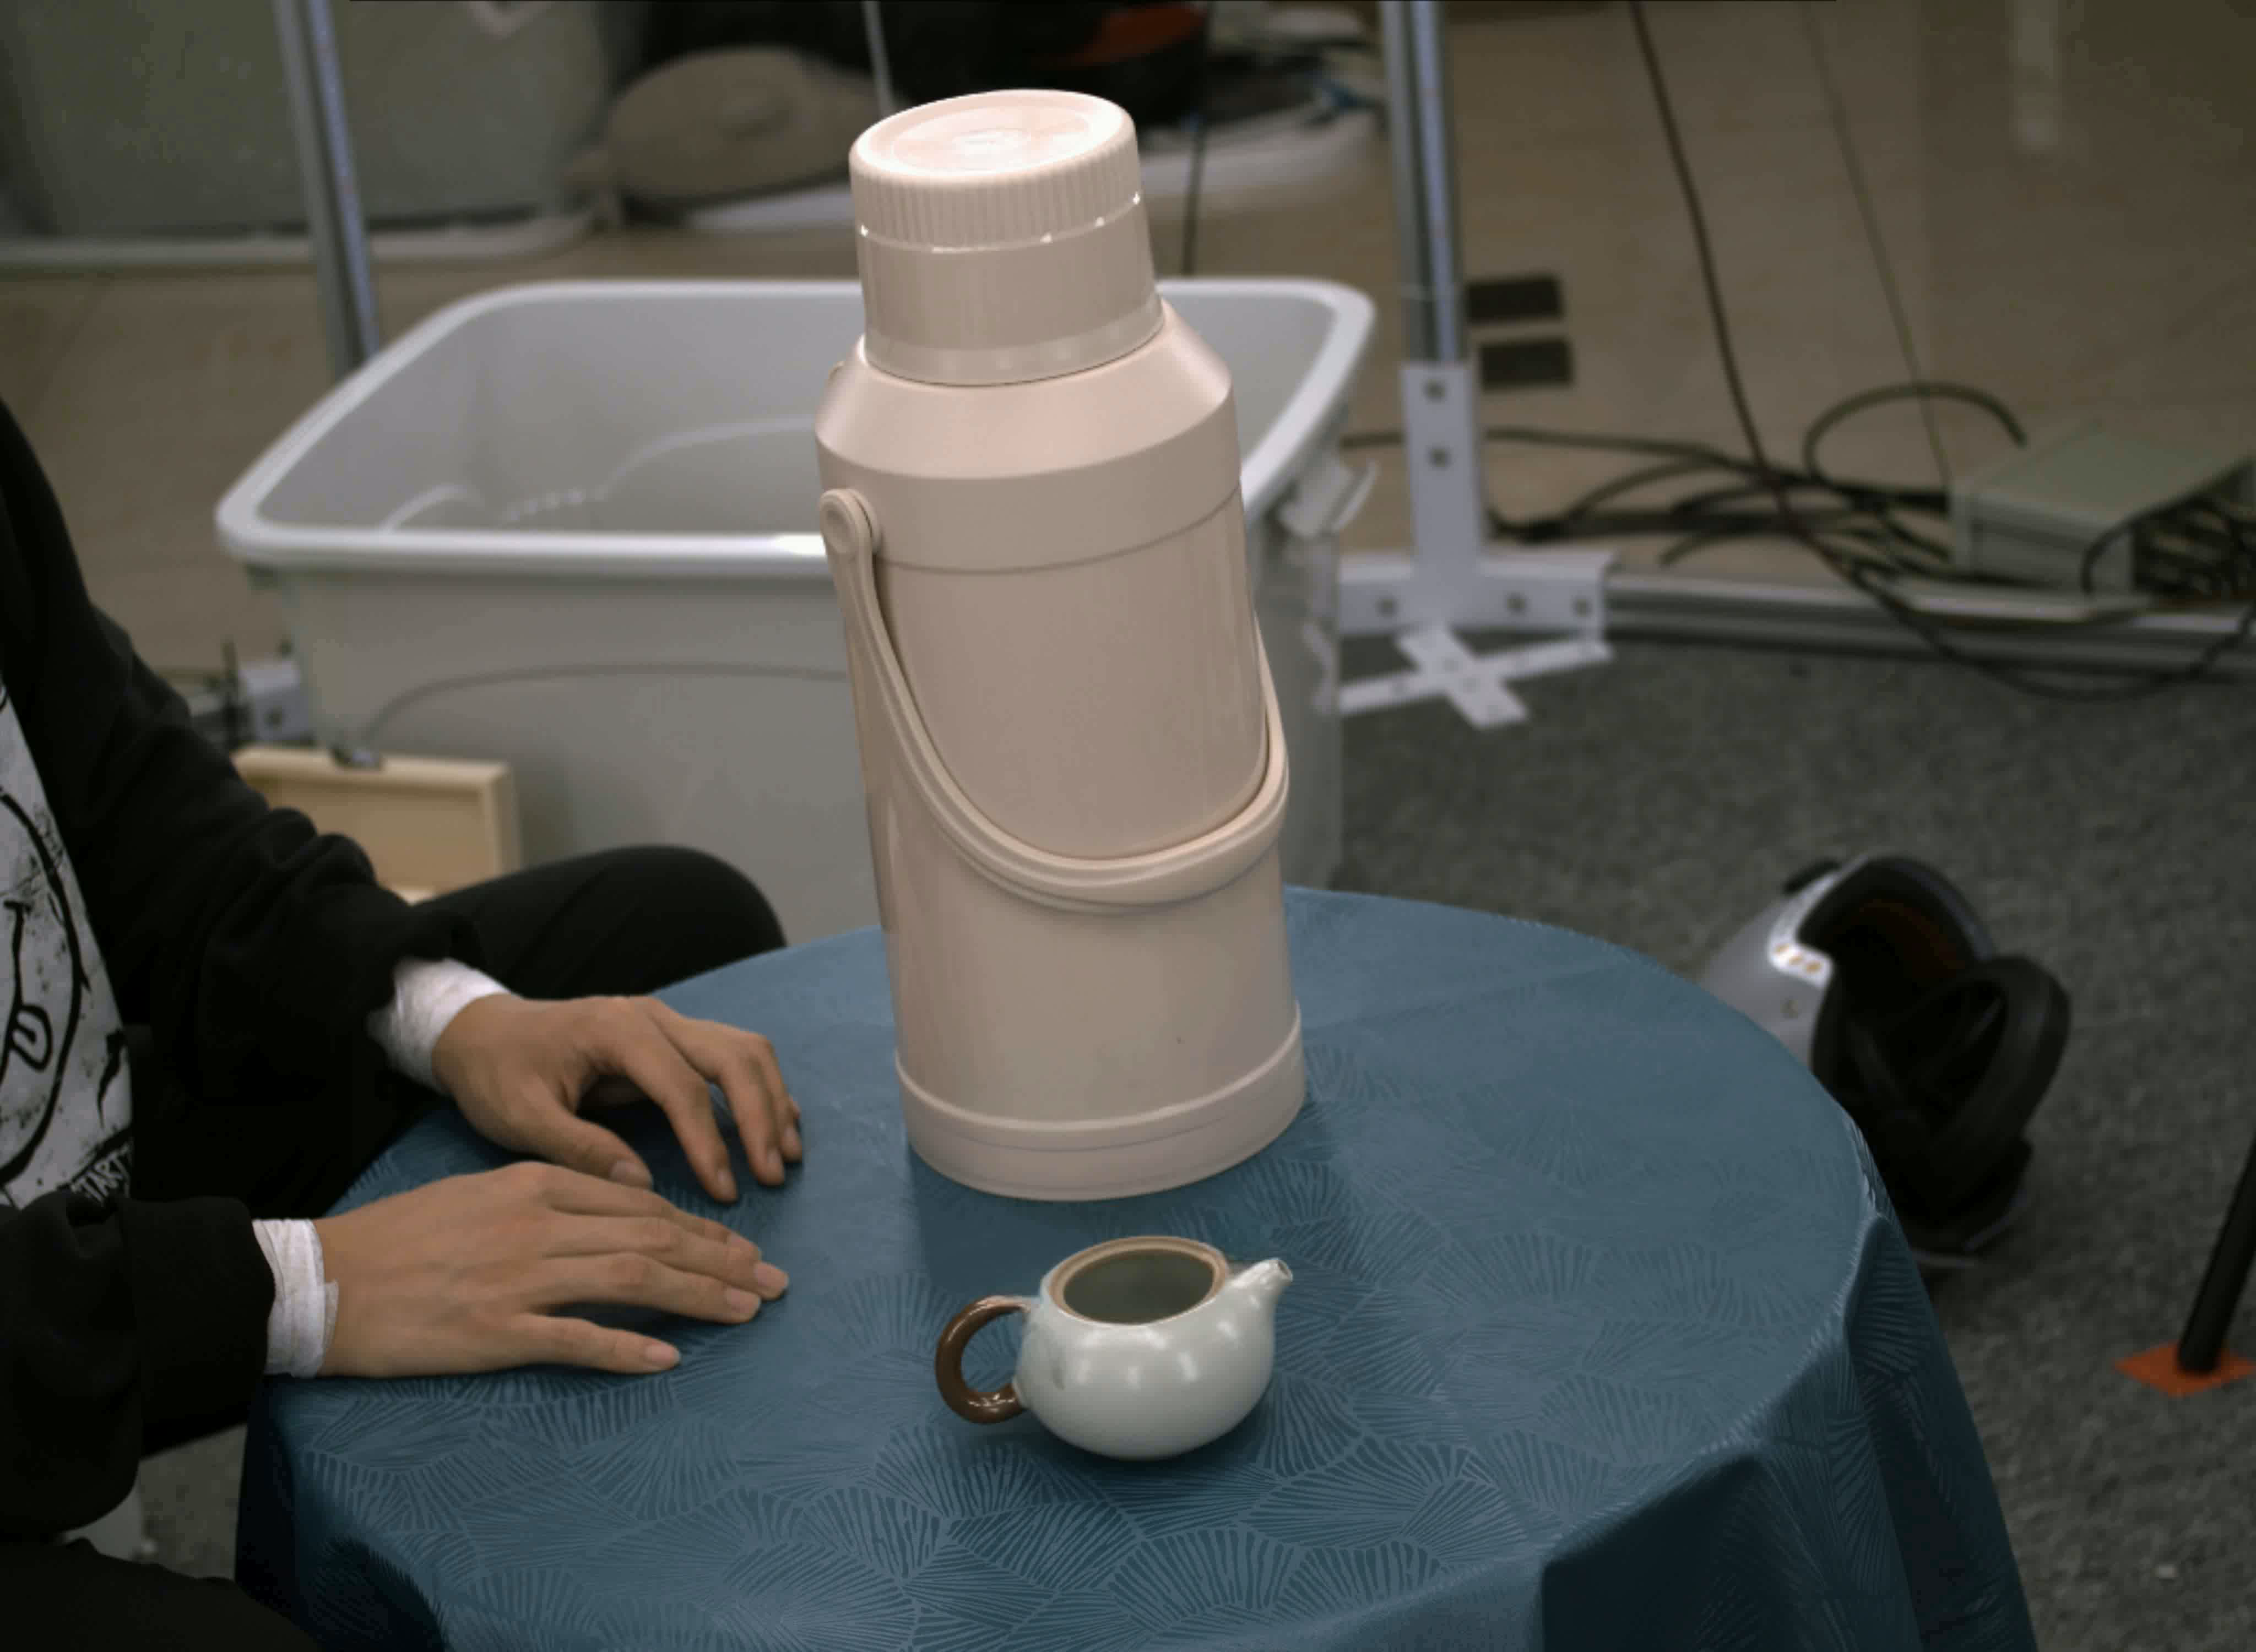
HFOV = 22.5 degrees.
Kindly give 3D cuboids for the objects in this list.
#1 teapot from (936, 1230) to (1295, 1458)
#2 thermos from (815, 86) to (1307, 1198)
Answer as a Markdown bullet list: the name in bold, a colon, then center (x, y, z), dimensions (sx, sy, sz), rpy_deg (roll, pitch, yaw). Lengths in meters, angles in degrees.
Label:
- **teapot**: center (-0.003, 0.183, 1.986), dimensions (0.128, 0.060, 0.090), rpy_deg (-7, 30, -2)
- **thermos**: center (-0.036, -0.075, 2.140), dimensions (0.174, 0.413, 0.205), rpy_deg (-25, 32, -31)
